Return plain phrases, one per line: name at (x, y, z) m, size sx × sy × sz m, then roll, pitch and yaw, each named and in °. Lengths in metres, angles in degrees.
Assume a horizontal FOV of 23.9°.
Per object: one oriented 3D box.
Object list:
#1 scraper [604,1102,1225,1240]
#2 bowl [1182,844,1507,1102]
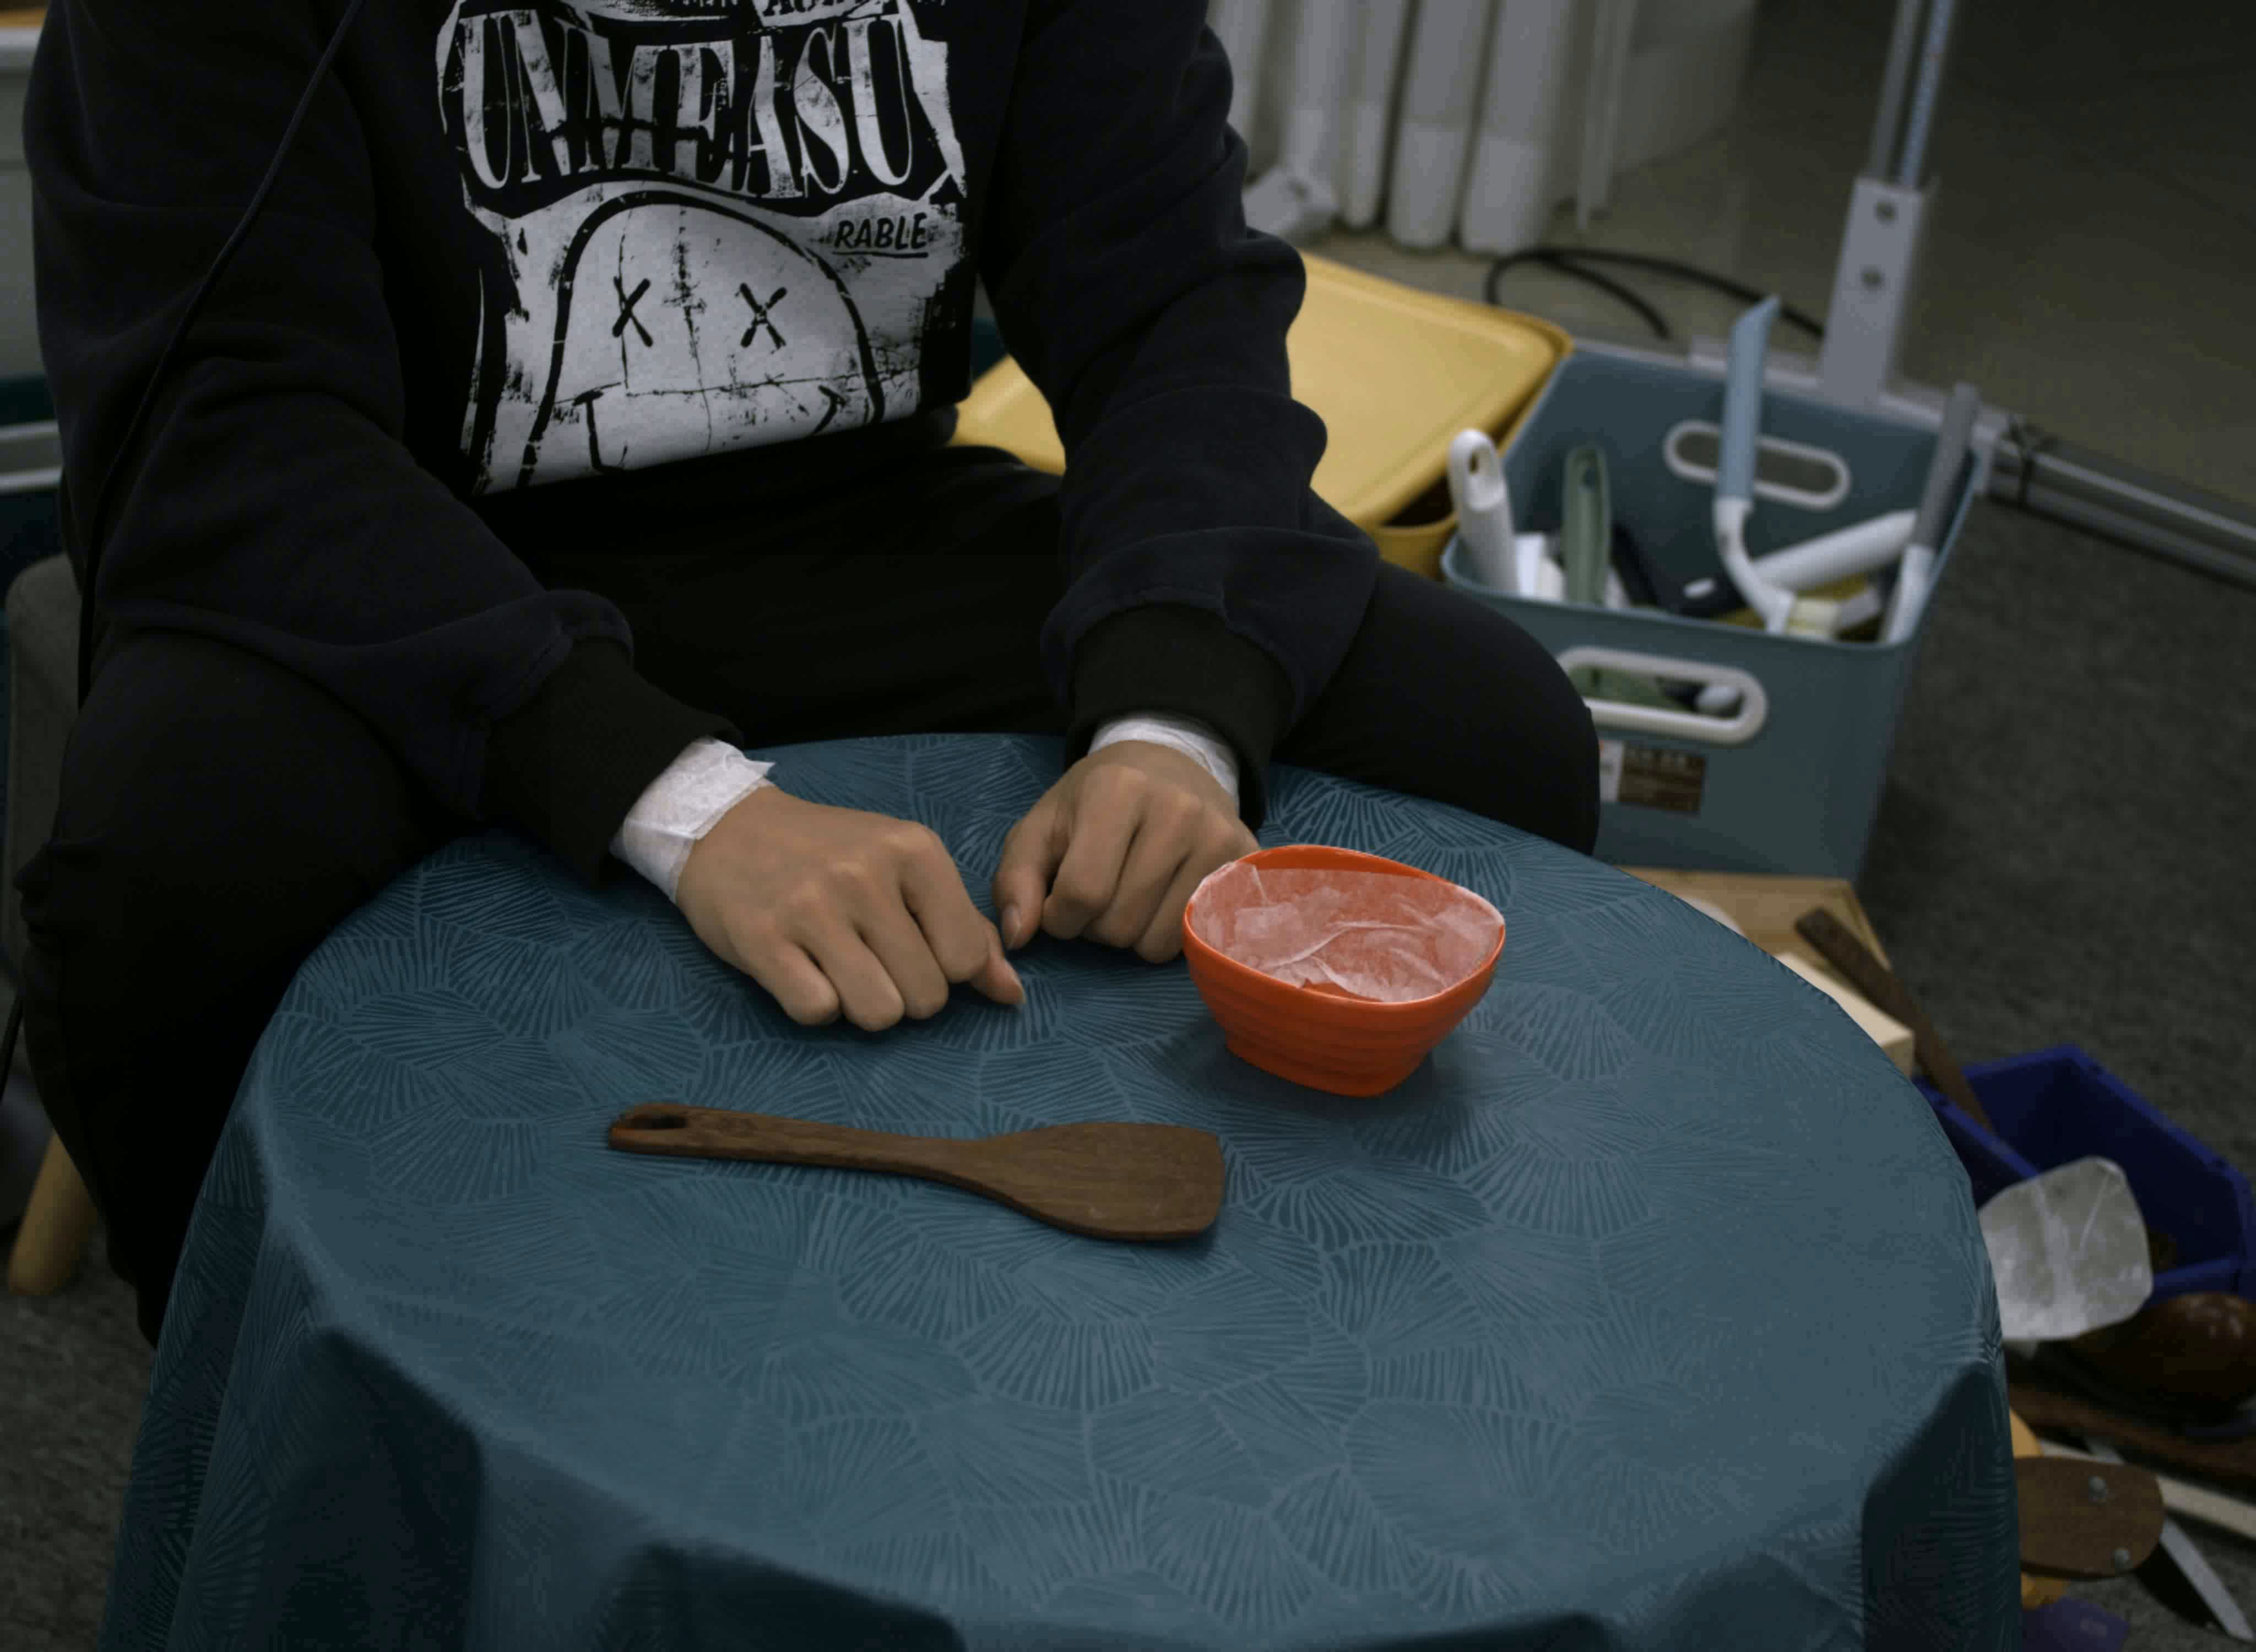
scraper at (-0.072, 0.112, 1.799) m, size 0.211 × 0.011 × 0.076 m, roll 6°, pitch 25°, yaw 1°
bowl at (0.075, 0.057, 1.896) m, size 0.118 × 0.051 × 0.119 m, roll 5°, pitch 29°, yaw -3°
